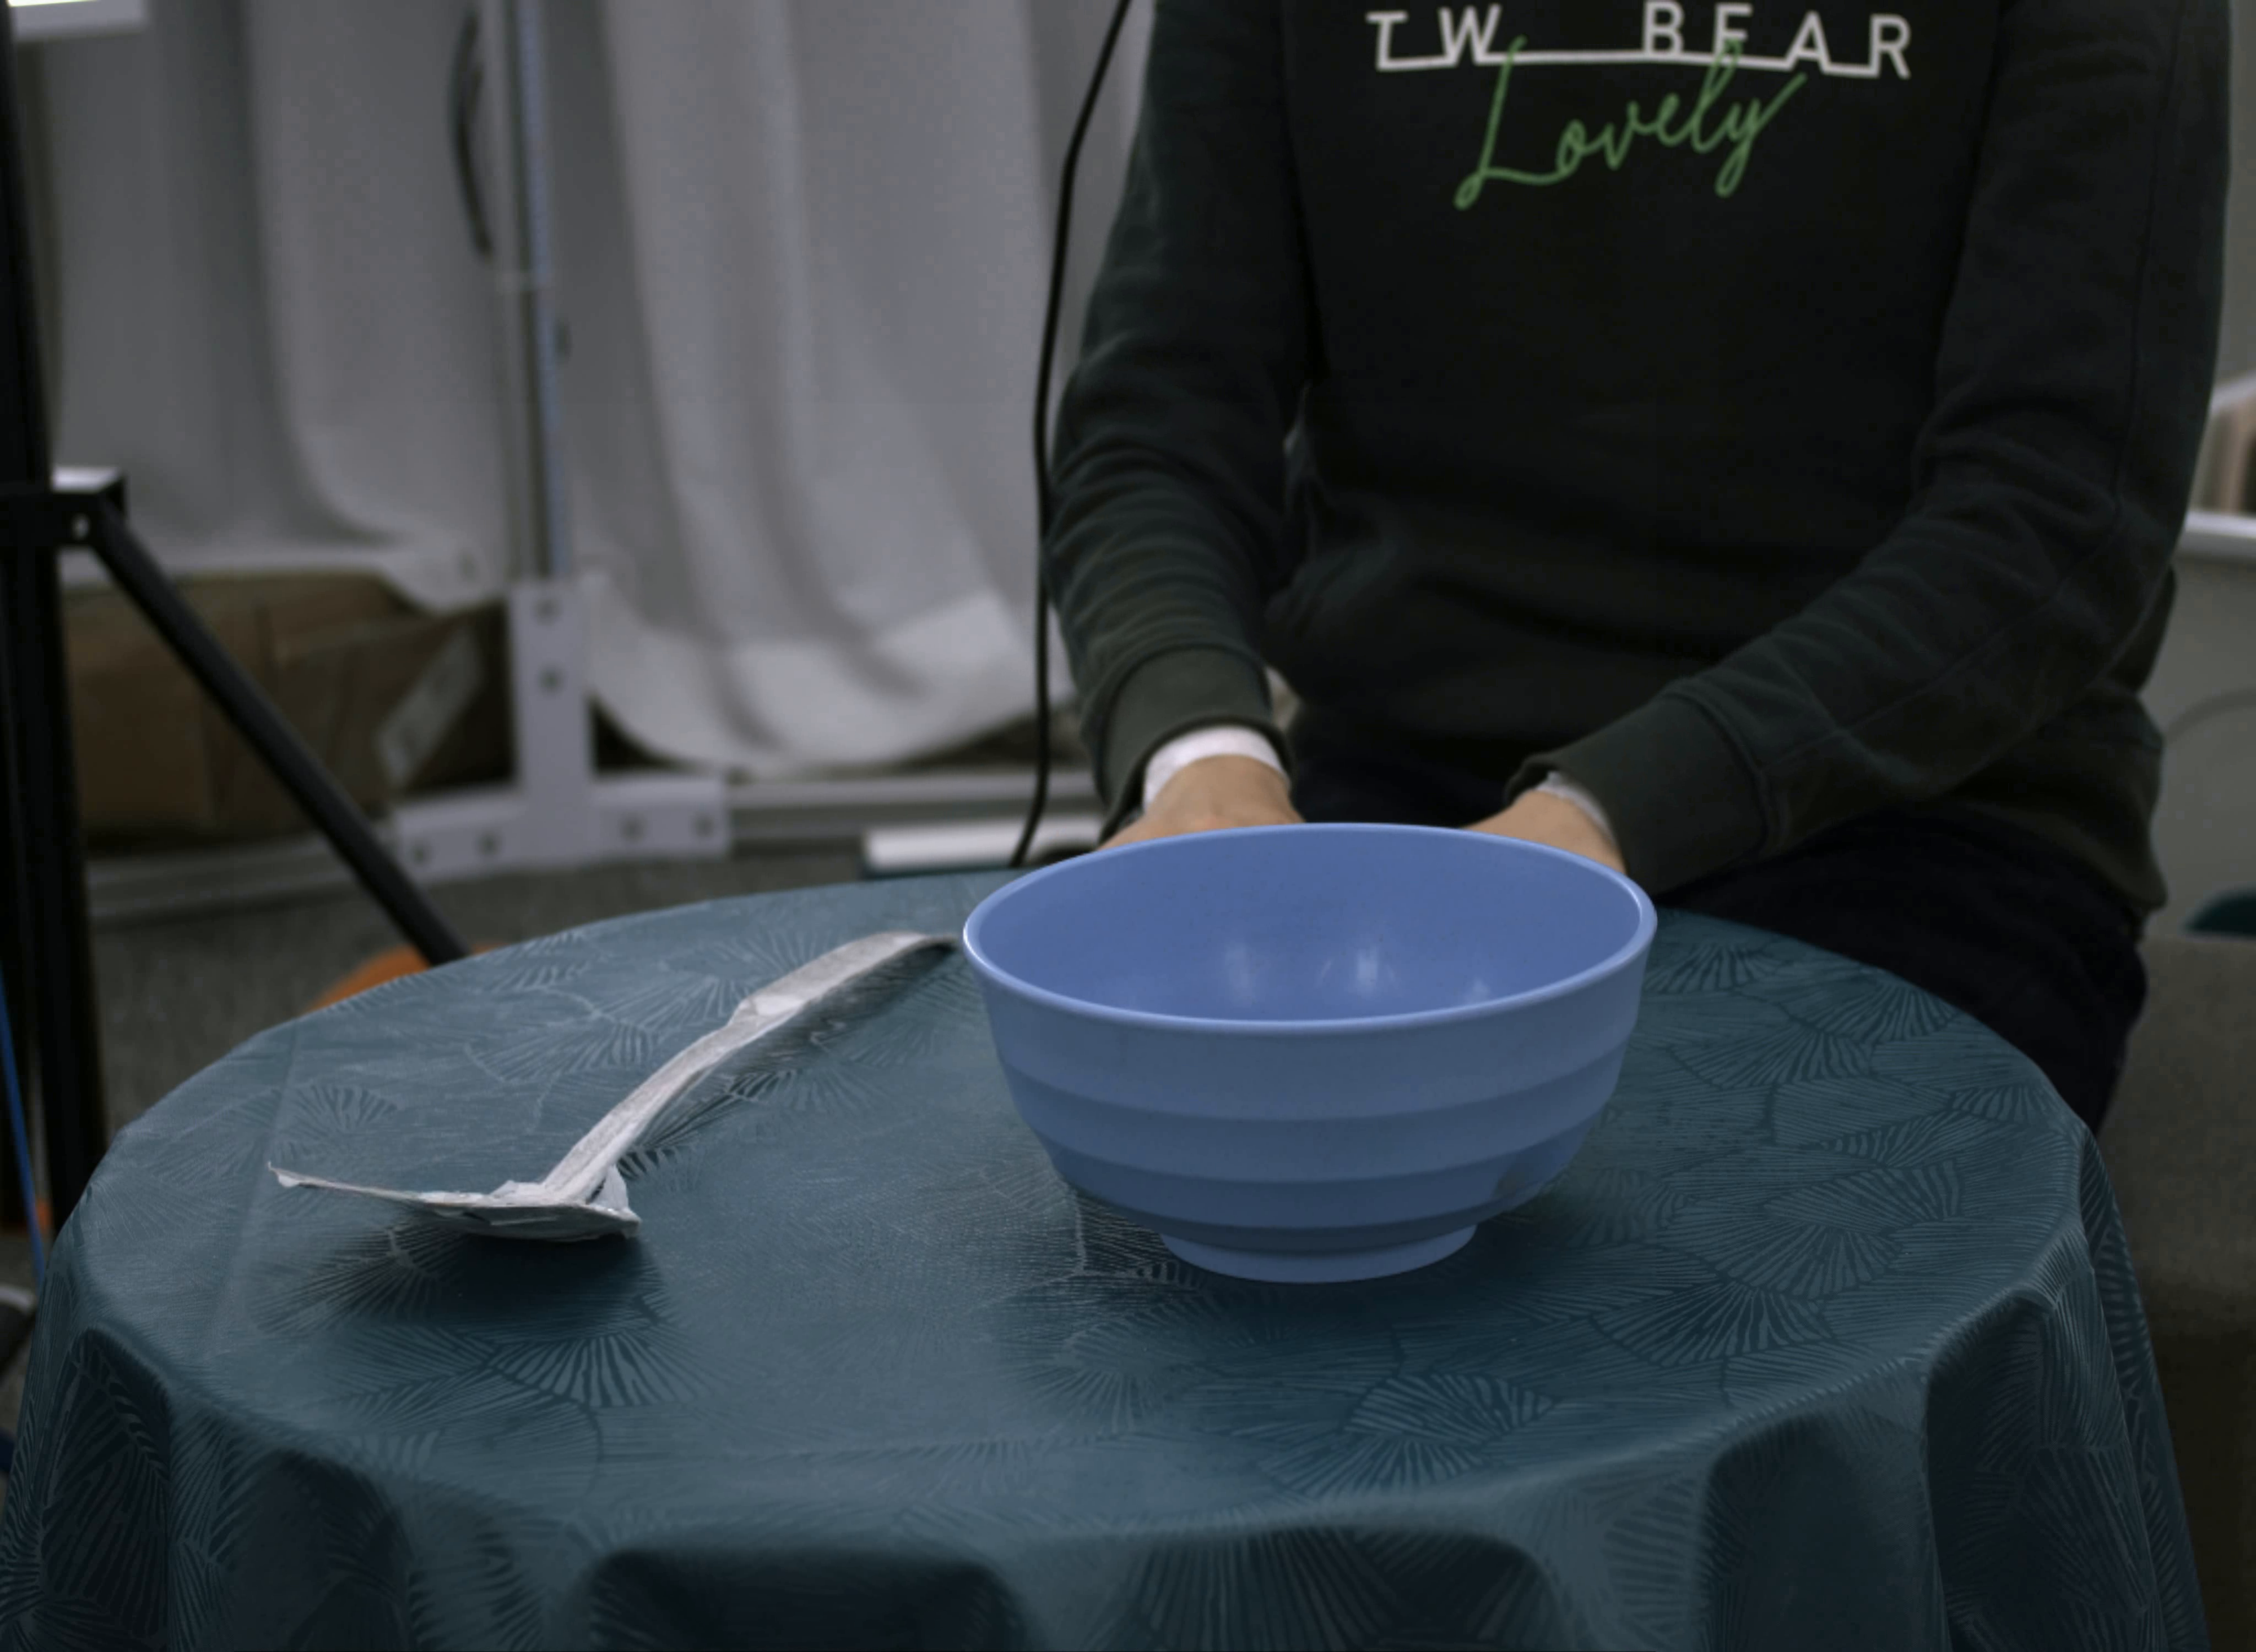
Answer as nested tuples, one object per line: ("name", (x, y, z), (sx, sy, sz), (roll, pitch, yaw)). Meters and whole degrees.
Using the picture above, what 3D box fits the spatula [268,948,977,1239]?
("spatula", (-0.133, 0.072, 1.636), (0.100, 0.045, 0.360), (3, 17, 24))

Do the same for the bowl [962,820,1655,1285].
("bowl", (0.053, 0.070, 1.508), (0.195, 0.095, 0.197), (-4, 16, 0))
